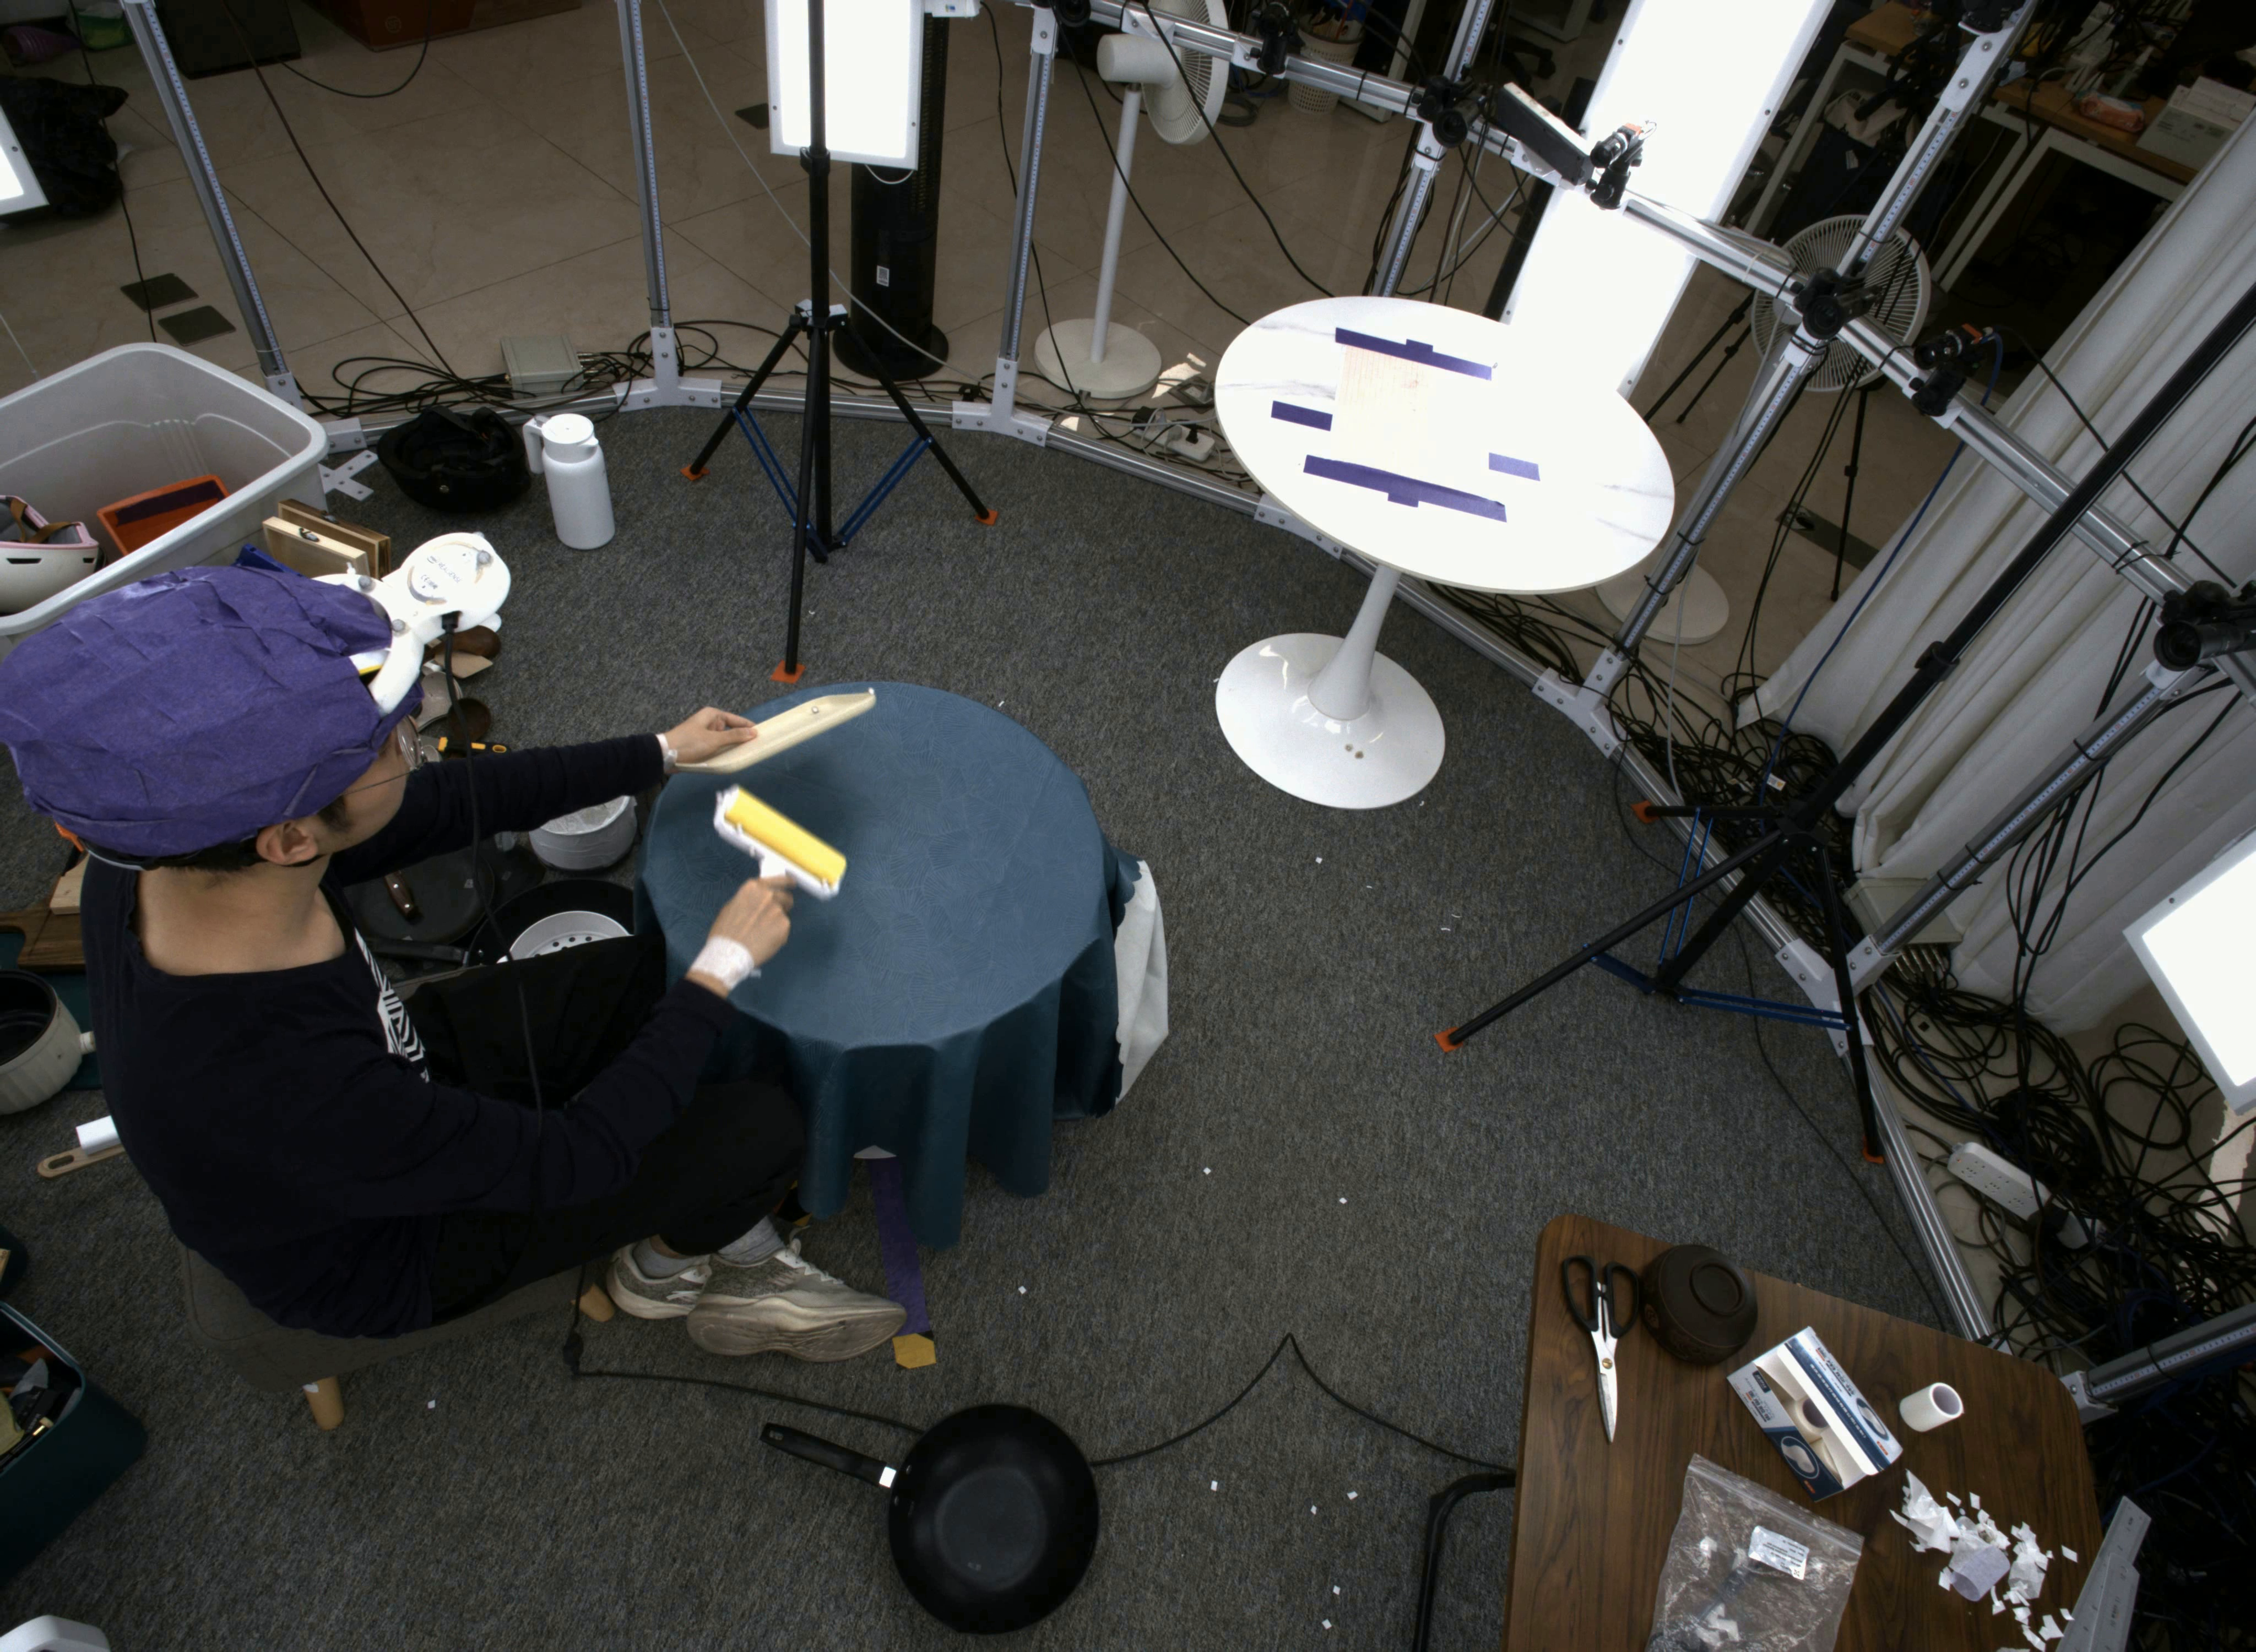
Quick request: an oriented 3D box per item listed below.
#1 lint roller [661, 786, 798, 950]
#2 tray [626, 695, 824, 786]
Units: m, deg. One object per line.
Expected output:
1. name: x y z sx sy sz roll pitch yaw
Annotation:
1. lint roller: -0.460 0.058 1.487 0.180 0.051 0.186 36 23 -37
2. tray: -0.507 -0.107 1.626 0.165 0.018 0.240 1 28 47
